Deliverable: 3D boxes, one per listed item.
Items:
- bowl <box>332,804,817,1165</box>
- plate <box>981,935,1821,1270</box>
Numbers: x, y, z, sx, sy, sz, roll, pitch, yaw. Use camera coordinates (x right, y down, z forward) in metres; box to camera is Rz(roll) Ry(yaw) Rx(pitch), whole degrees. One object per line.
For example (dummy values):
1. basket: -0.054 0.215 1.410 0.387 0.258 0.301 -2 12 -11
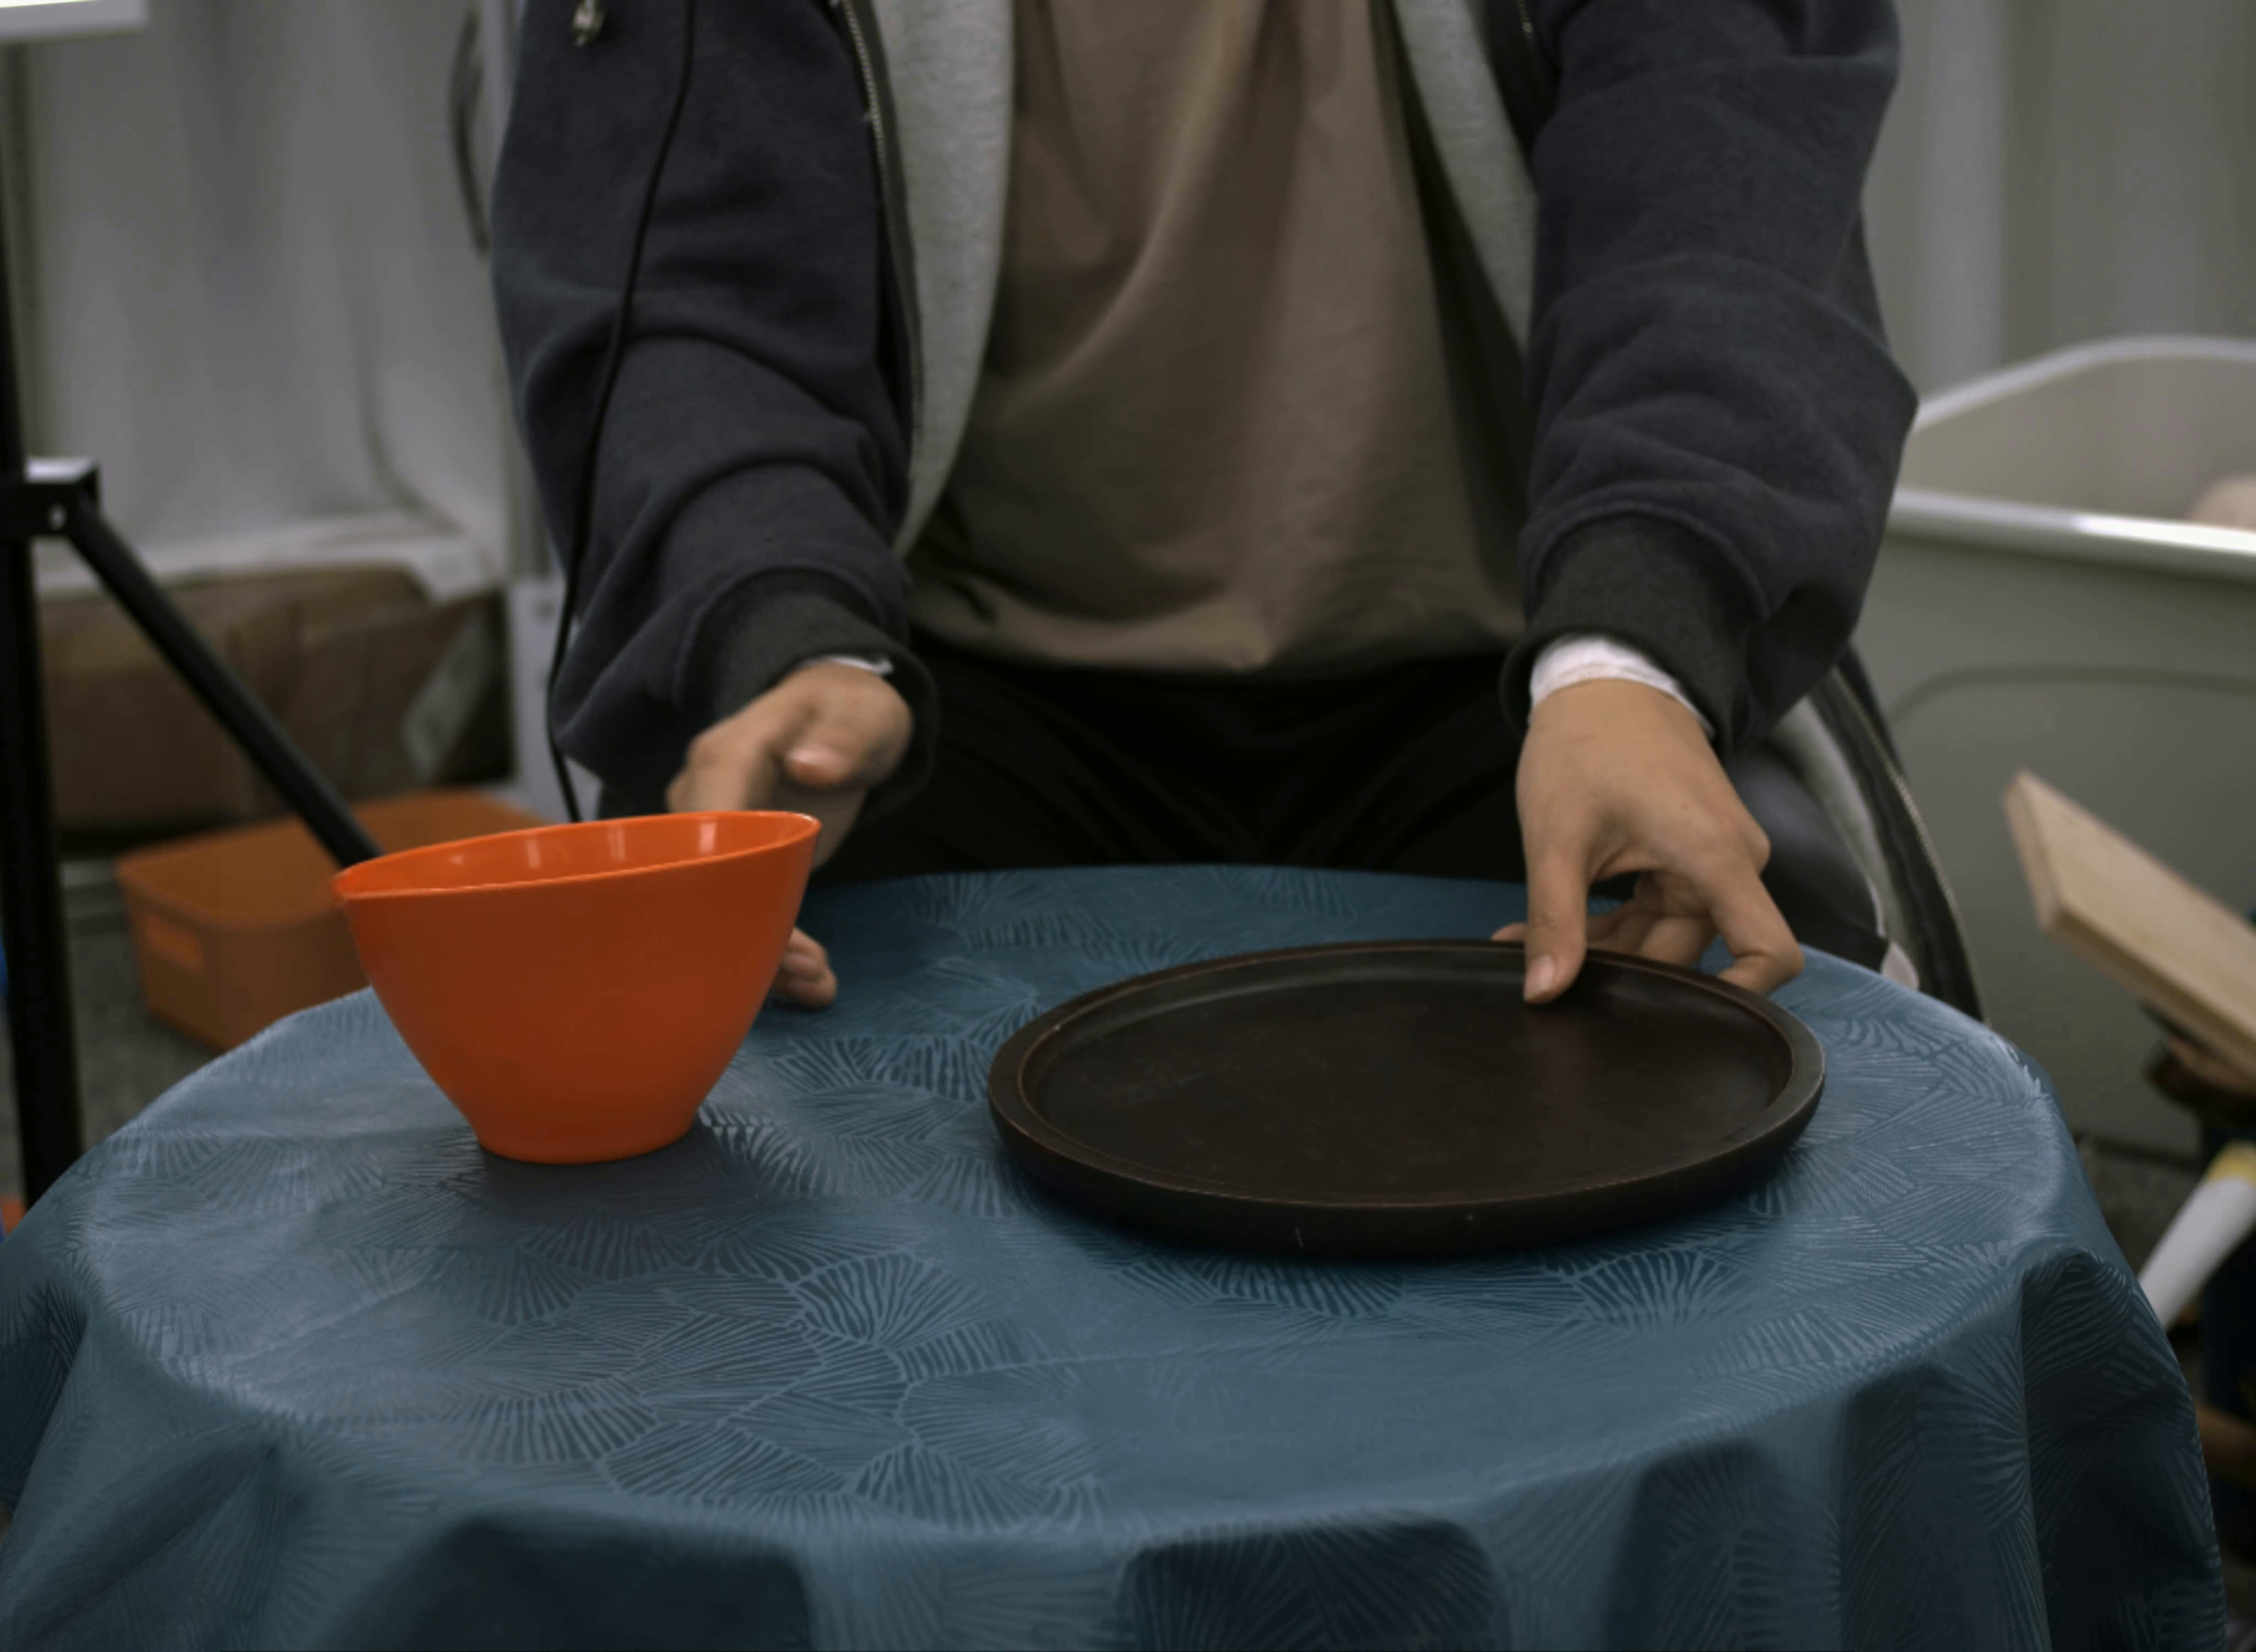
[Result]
1. bowl: -0.164 0.047 1.618 0.147 0.104 0.149 -4 16 0
2. plate: 0.082 0.081 1.600 0.253 0.029 0.256 -4 16 0
